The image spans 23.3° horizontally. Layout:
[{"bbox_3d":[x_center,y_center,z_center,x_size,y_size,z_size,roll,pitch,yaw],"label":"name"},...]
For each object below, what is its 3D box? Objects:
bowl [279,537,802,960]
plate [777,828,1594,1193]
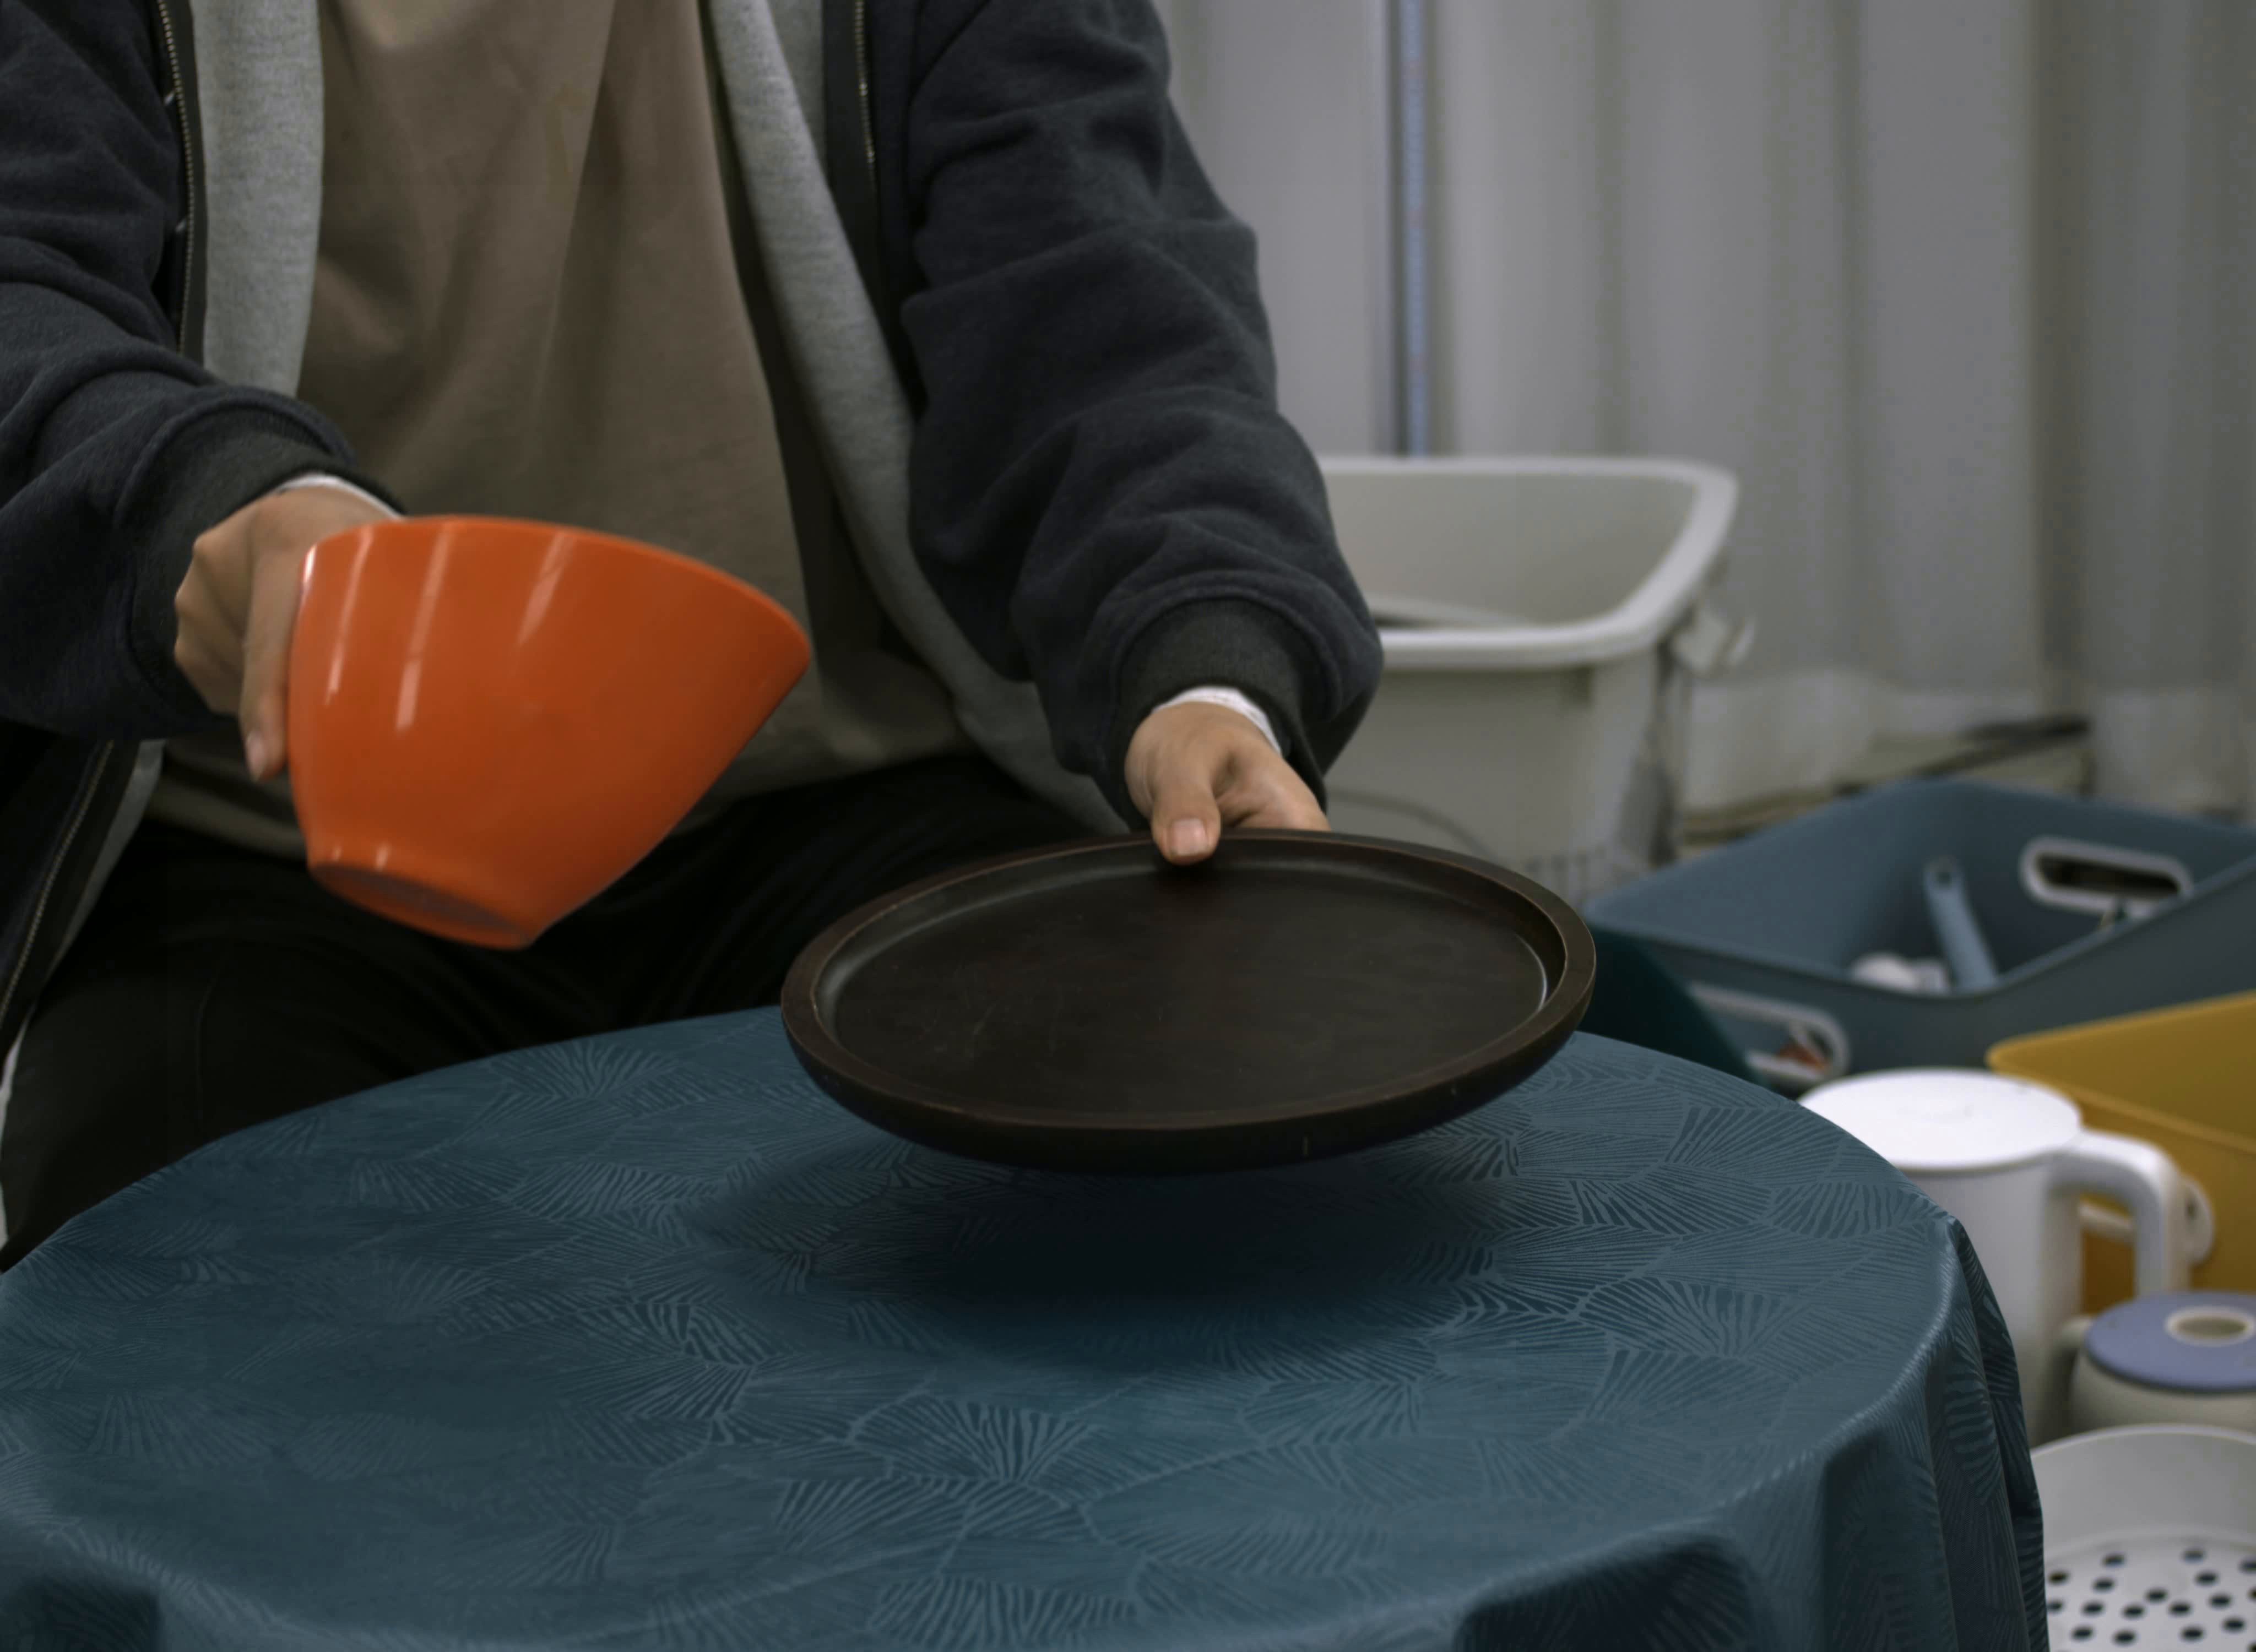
[{"bbox_3d":[-0.178,-0.019,1.562,0.148,0.105,0.147,16,-12,3],"label":"bowl"},{"bbox_3d":[0.018,0.055,1.691,0.254,0.029,0.257,-5,20,1],"label":"plate"}]
